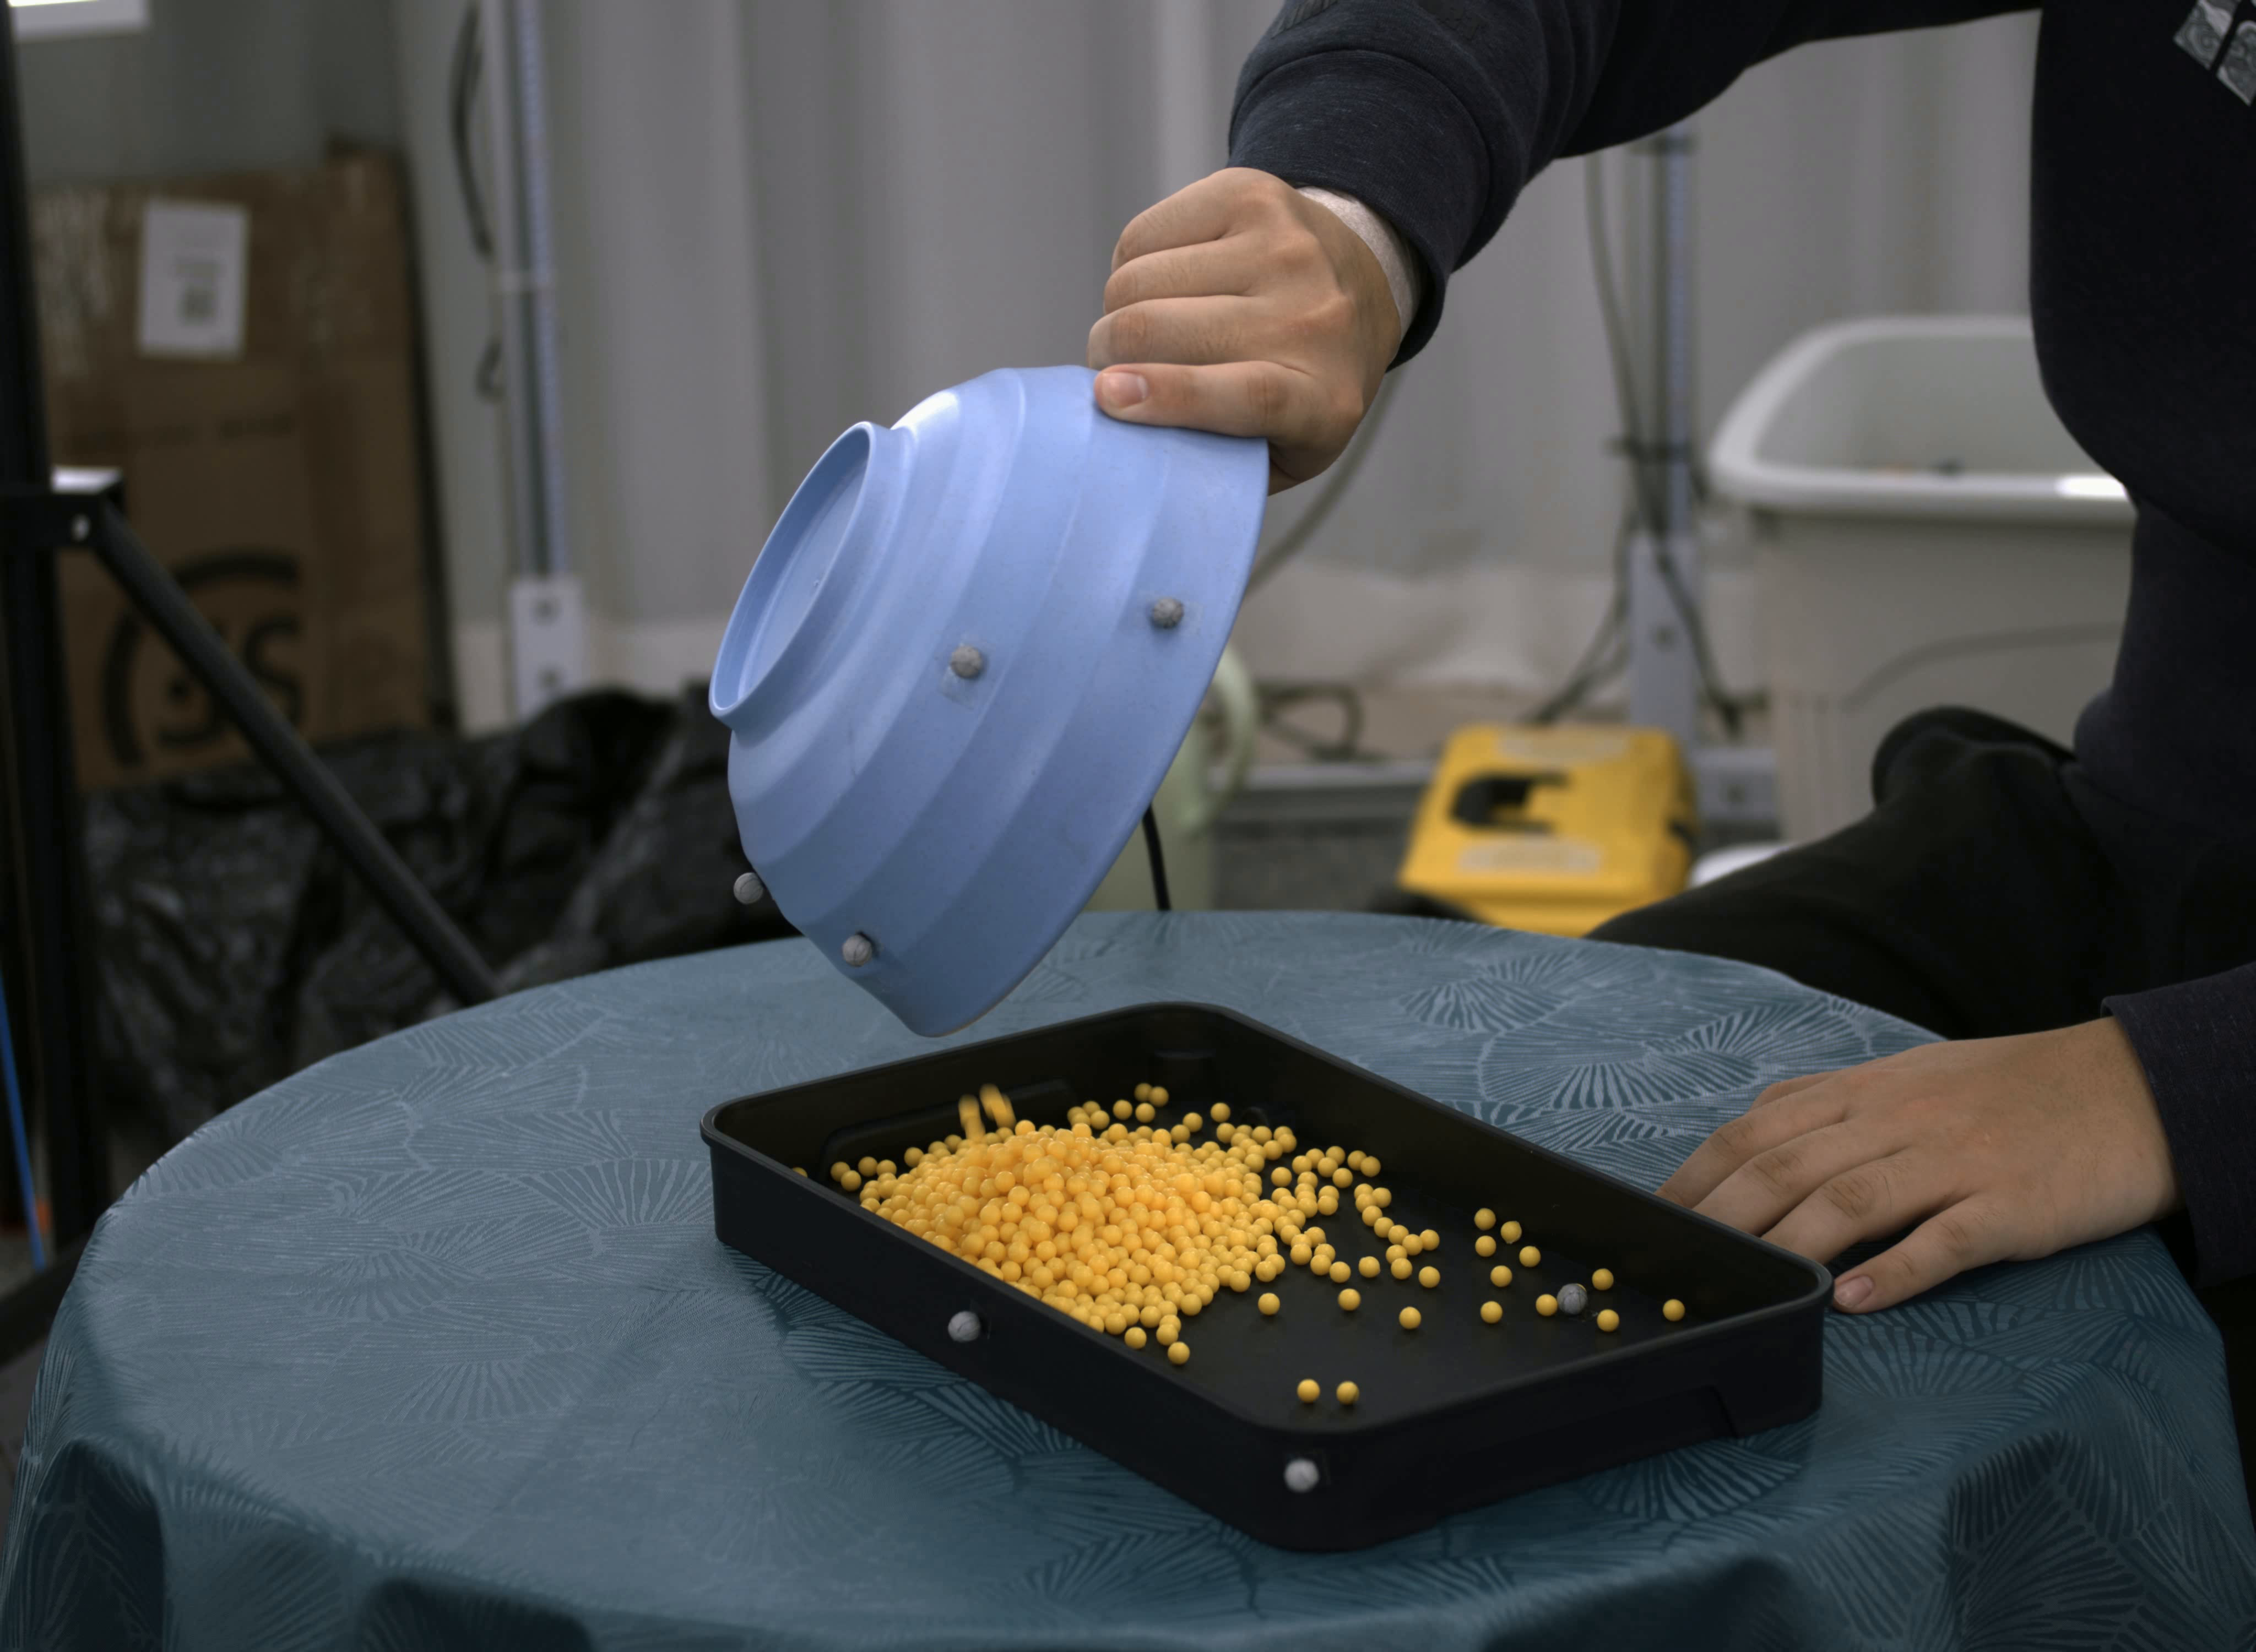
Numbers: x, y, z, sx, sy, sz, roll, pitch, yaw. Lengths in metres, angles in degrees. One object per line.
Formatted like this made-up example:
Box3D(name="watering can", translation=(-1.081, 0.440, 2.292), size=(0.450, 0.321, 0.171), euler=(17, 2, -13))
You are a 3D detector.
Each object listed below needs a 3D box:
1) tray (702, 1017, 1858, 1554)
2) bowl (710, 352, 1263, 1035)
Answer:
Box3D(name="tray", translation=(0.034, 0.119, 1.453), size=(0.180, 0.037, 0.325), euler=(-12, 17, -32))
Box3D(name="bowl", translation=(-0.052, -0.051, 1.463), size=(0.094, 0.197, 0.198), euler=(27, 10, -15))
